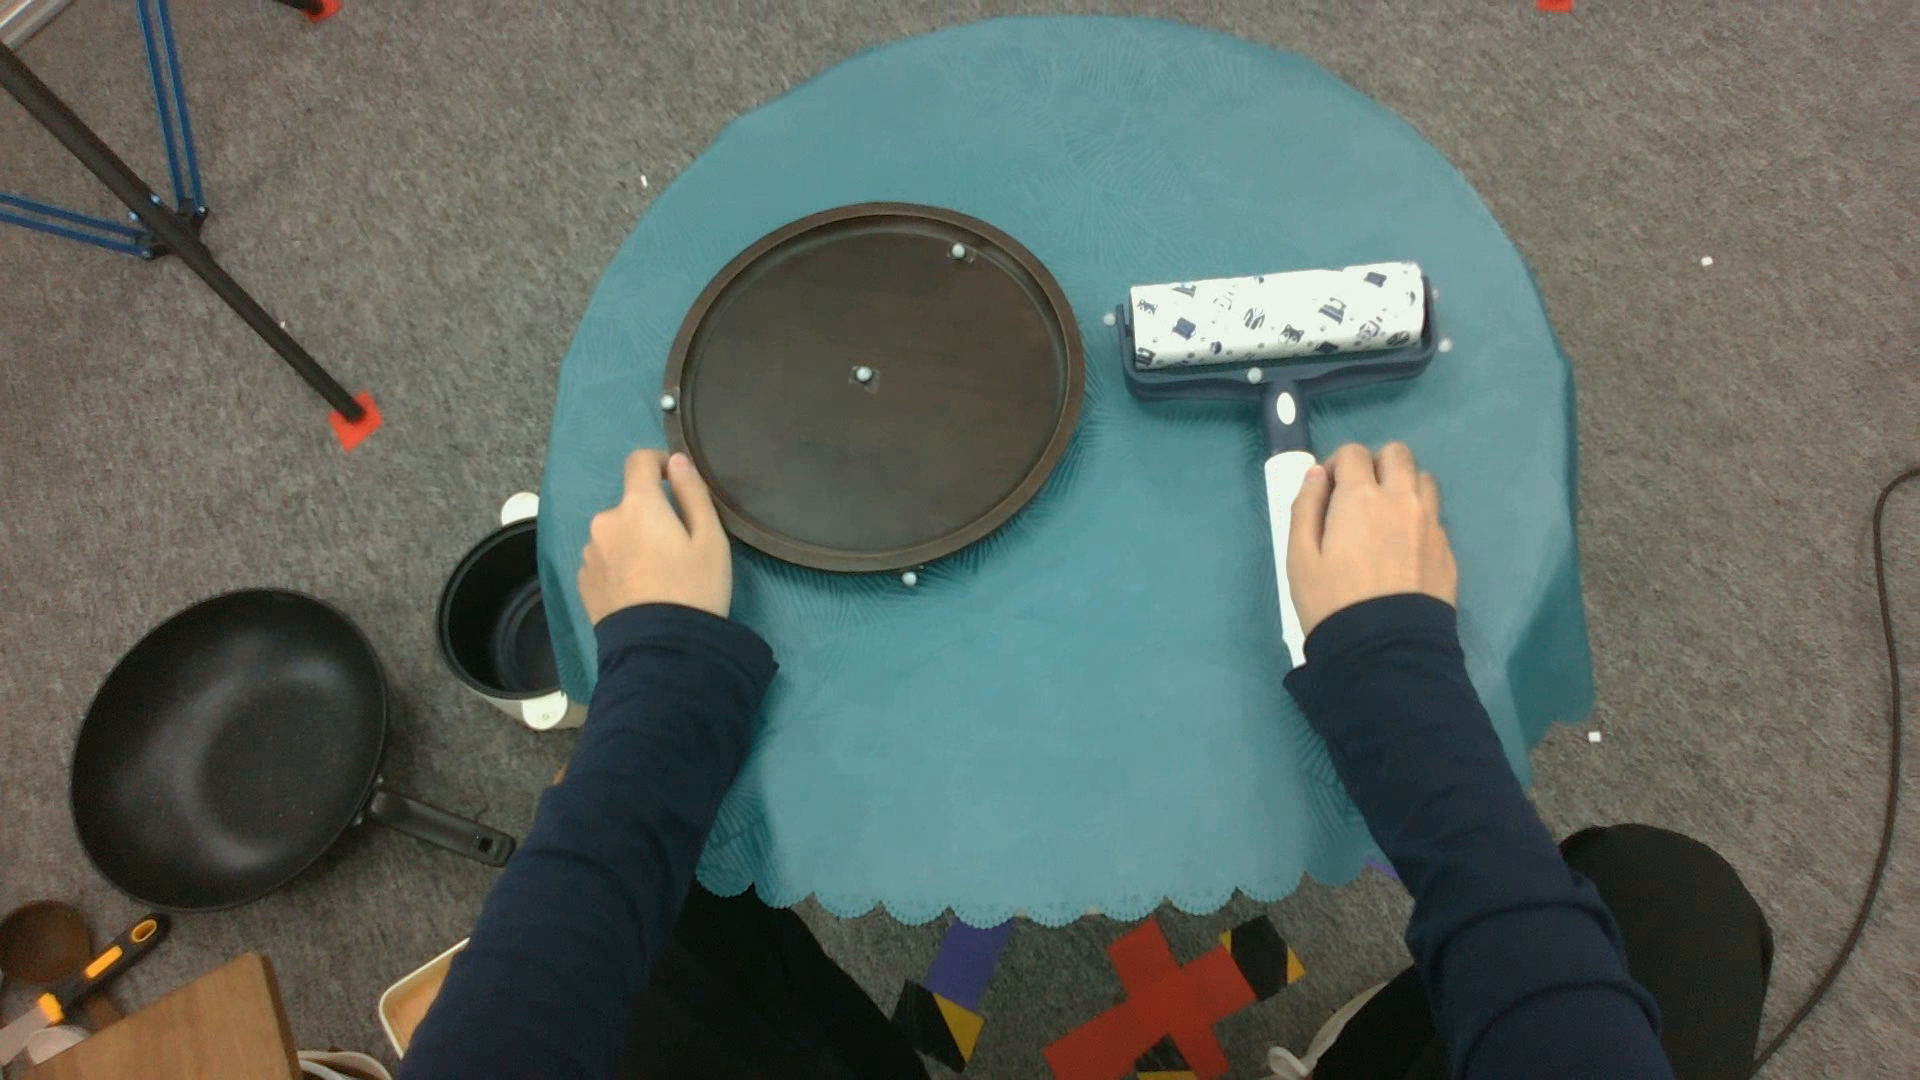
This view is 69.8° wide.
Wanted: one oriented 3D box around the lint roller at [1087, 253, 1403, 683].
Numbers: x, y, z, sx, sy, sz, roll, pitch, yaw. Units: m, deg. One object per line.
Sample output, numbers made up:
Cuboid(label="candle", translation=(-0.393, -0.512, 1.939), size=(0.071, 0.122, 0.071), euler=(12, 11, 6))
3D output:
Cuboid(label="lint roller", translation=(0.169, -0.045, 0.761), size=(0.176, 0.050, 0.248), euler=(-4, 68, 2))

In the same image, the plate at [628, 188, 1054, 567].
Cuboid(label="plate", translation=(-0.070, -0.101, 0.818), size=(0.254, 0.029, 0.255), euler=(-2, 67, 5))
